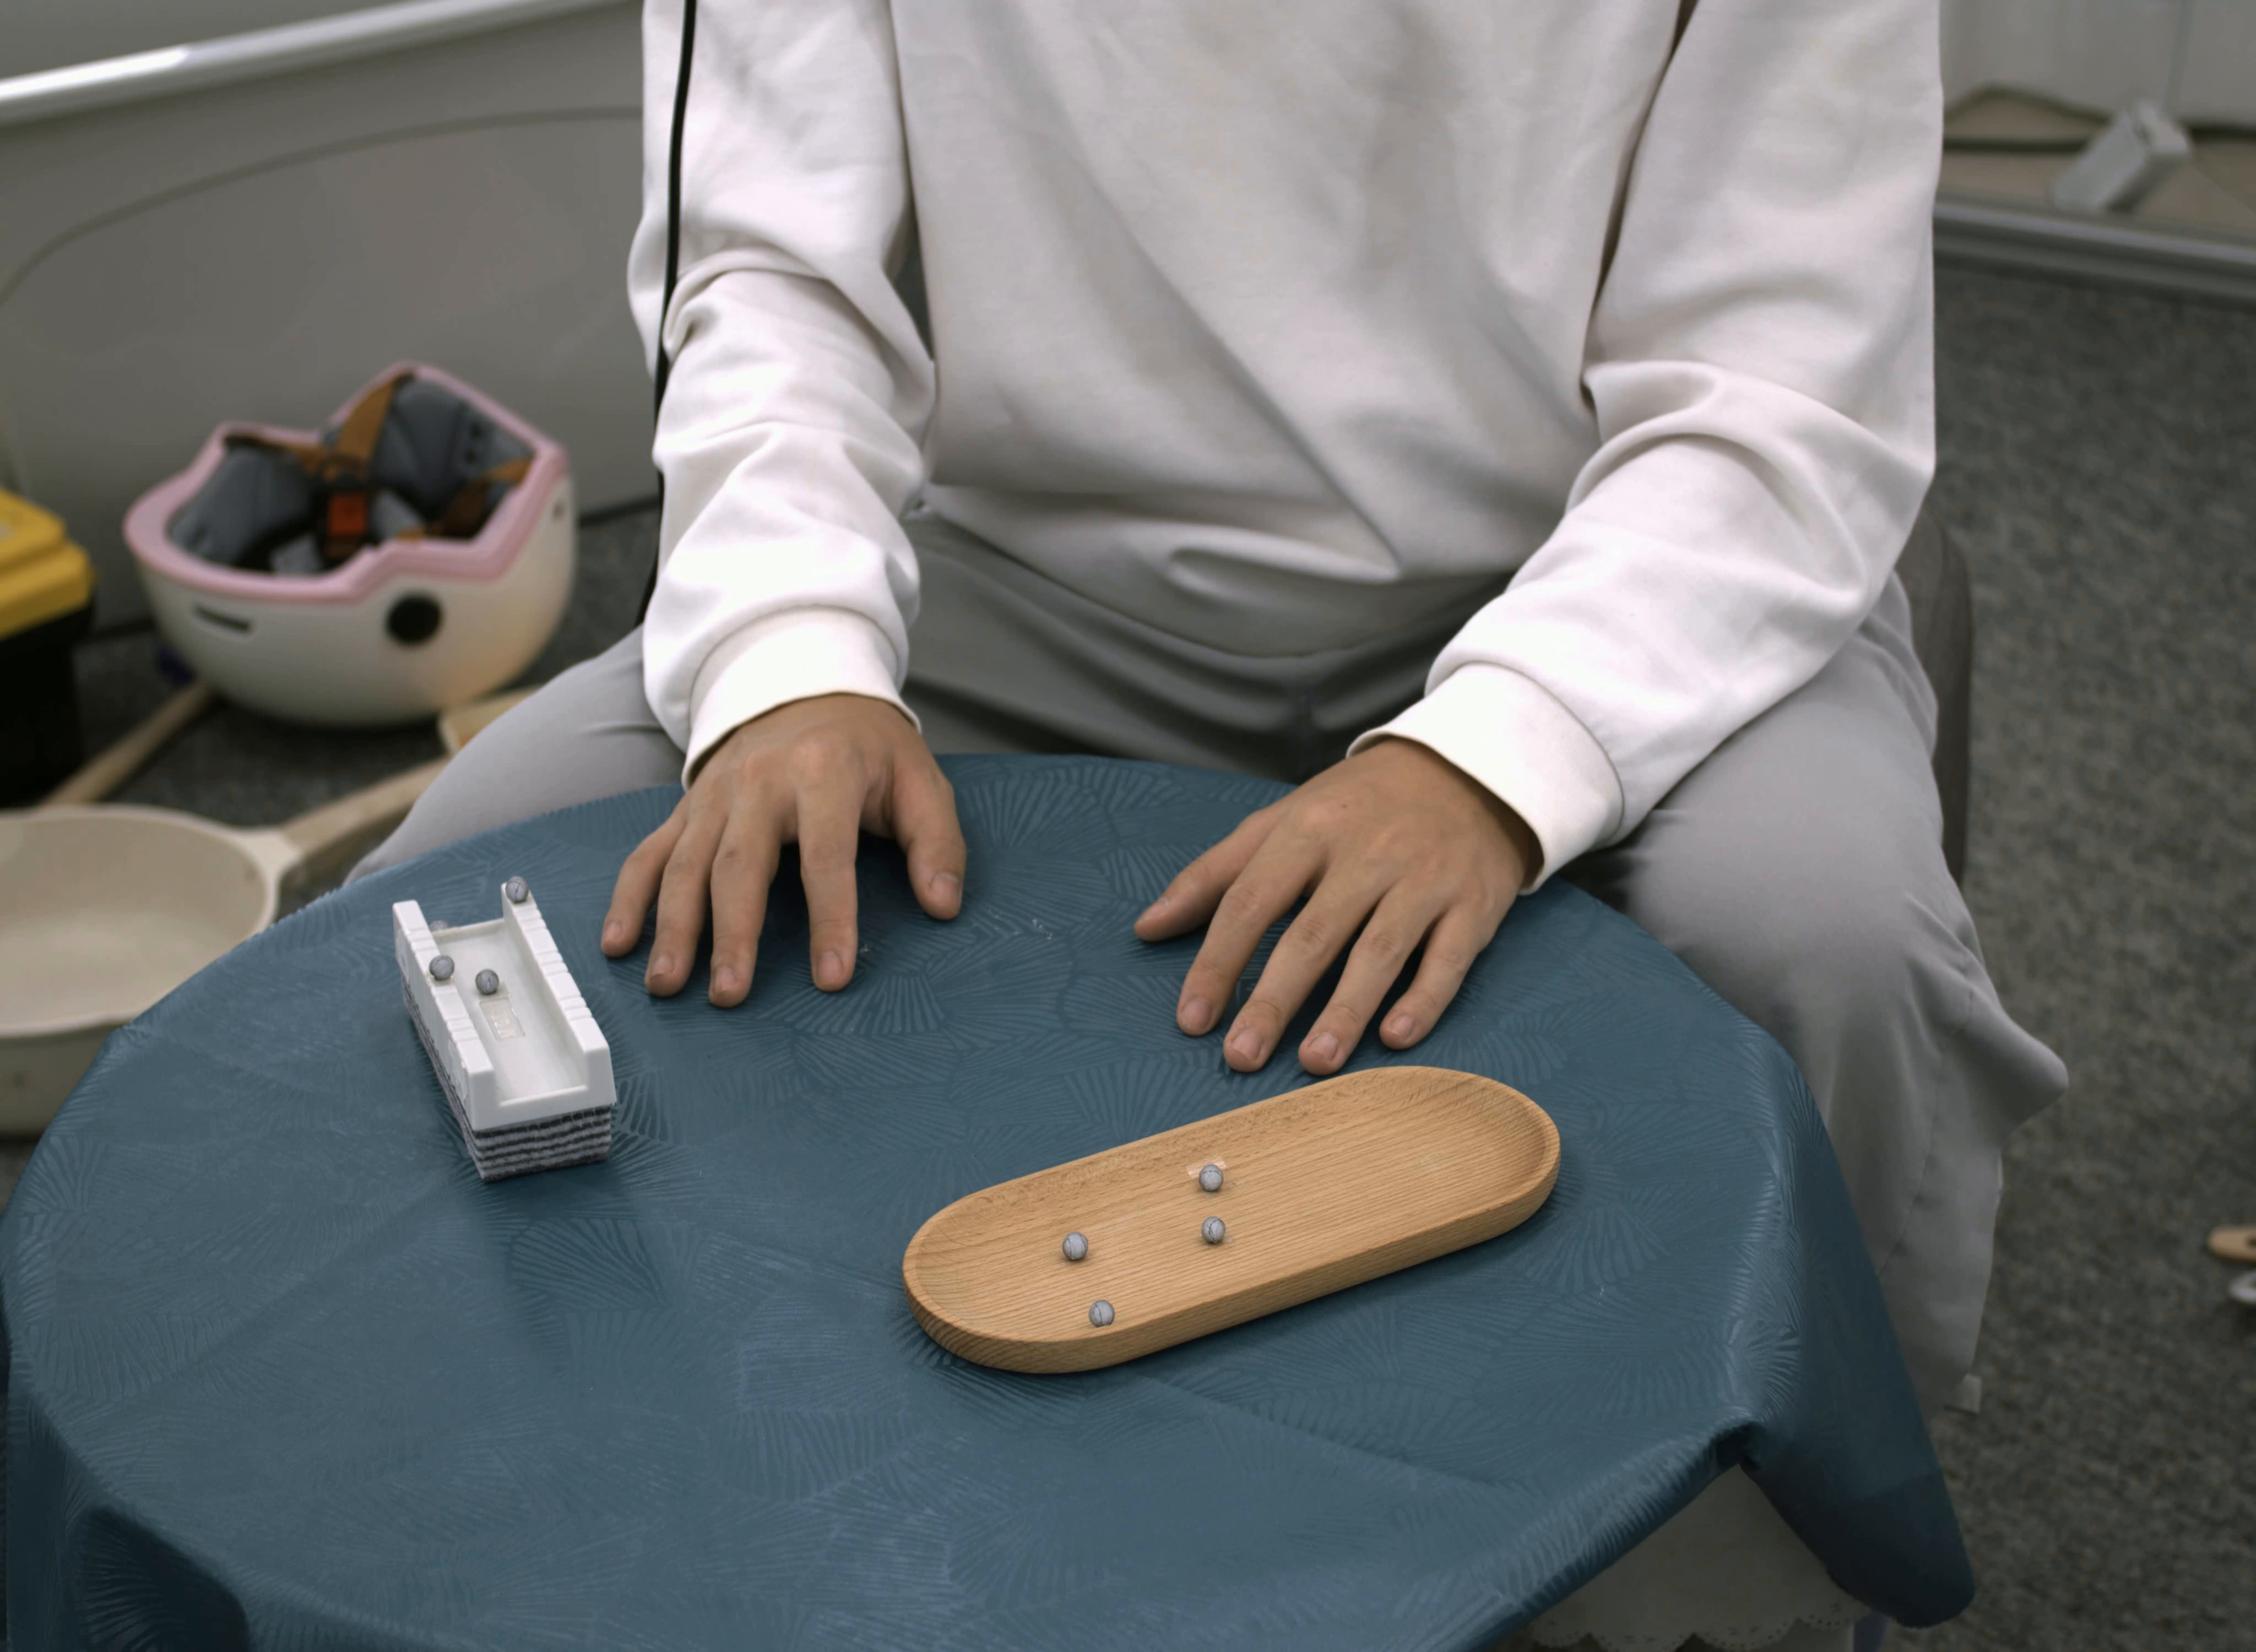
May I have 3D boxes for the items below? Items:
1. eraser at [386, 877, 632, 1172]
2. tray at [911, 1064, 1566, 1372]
[{"bbox_3d":[-0.214,0.069,1.934,0.050,0.046,0.135,-7,27,-21],"label":"eraser"},{"bbox_3d":[0.038,0.127,1.833,0.232,0.020,0.102,-15,31,-26],"label":"tray"}]
